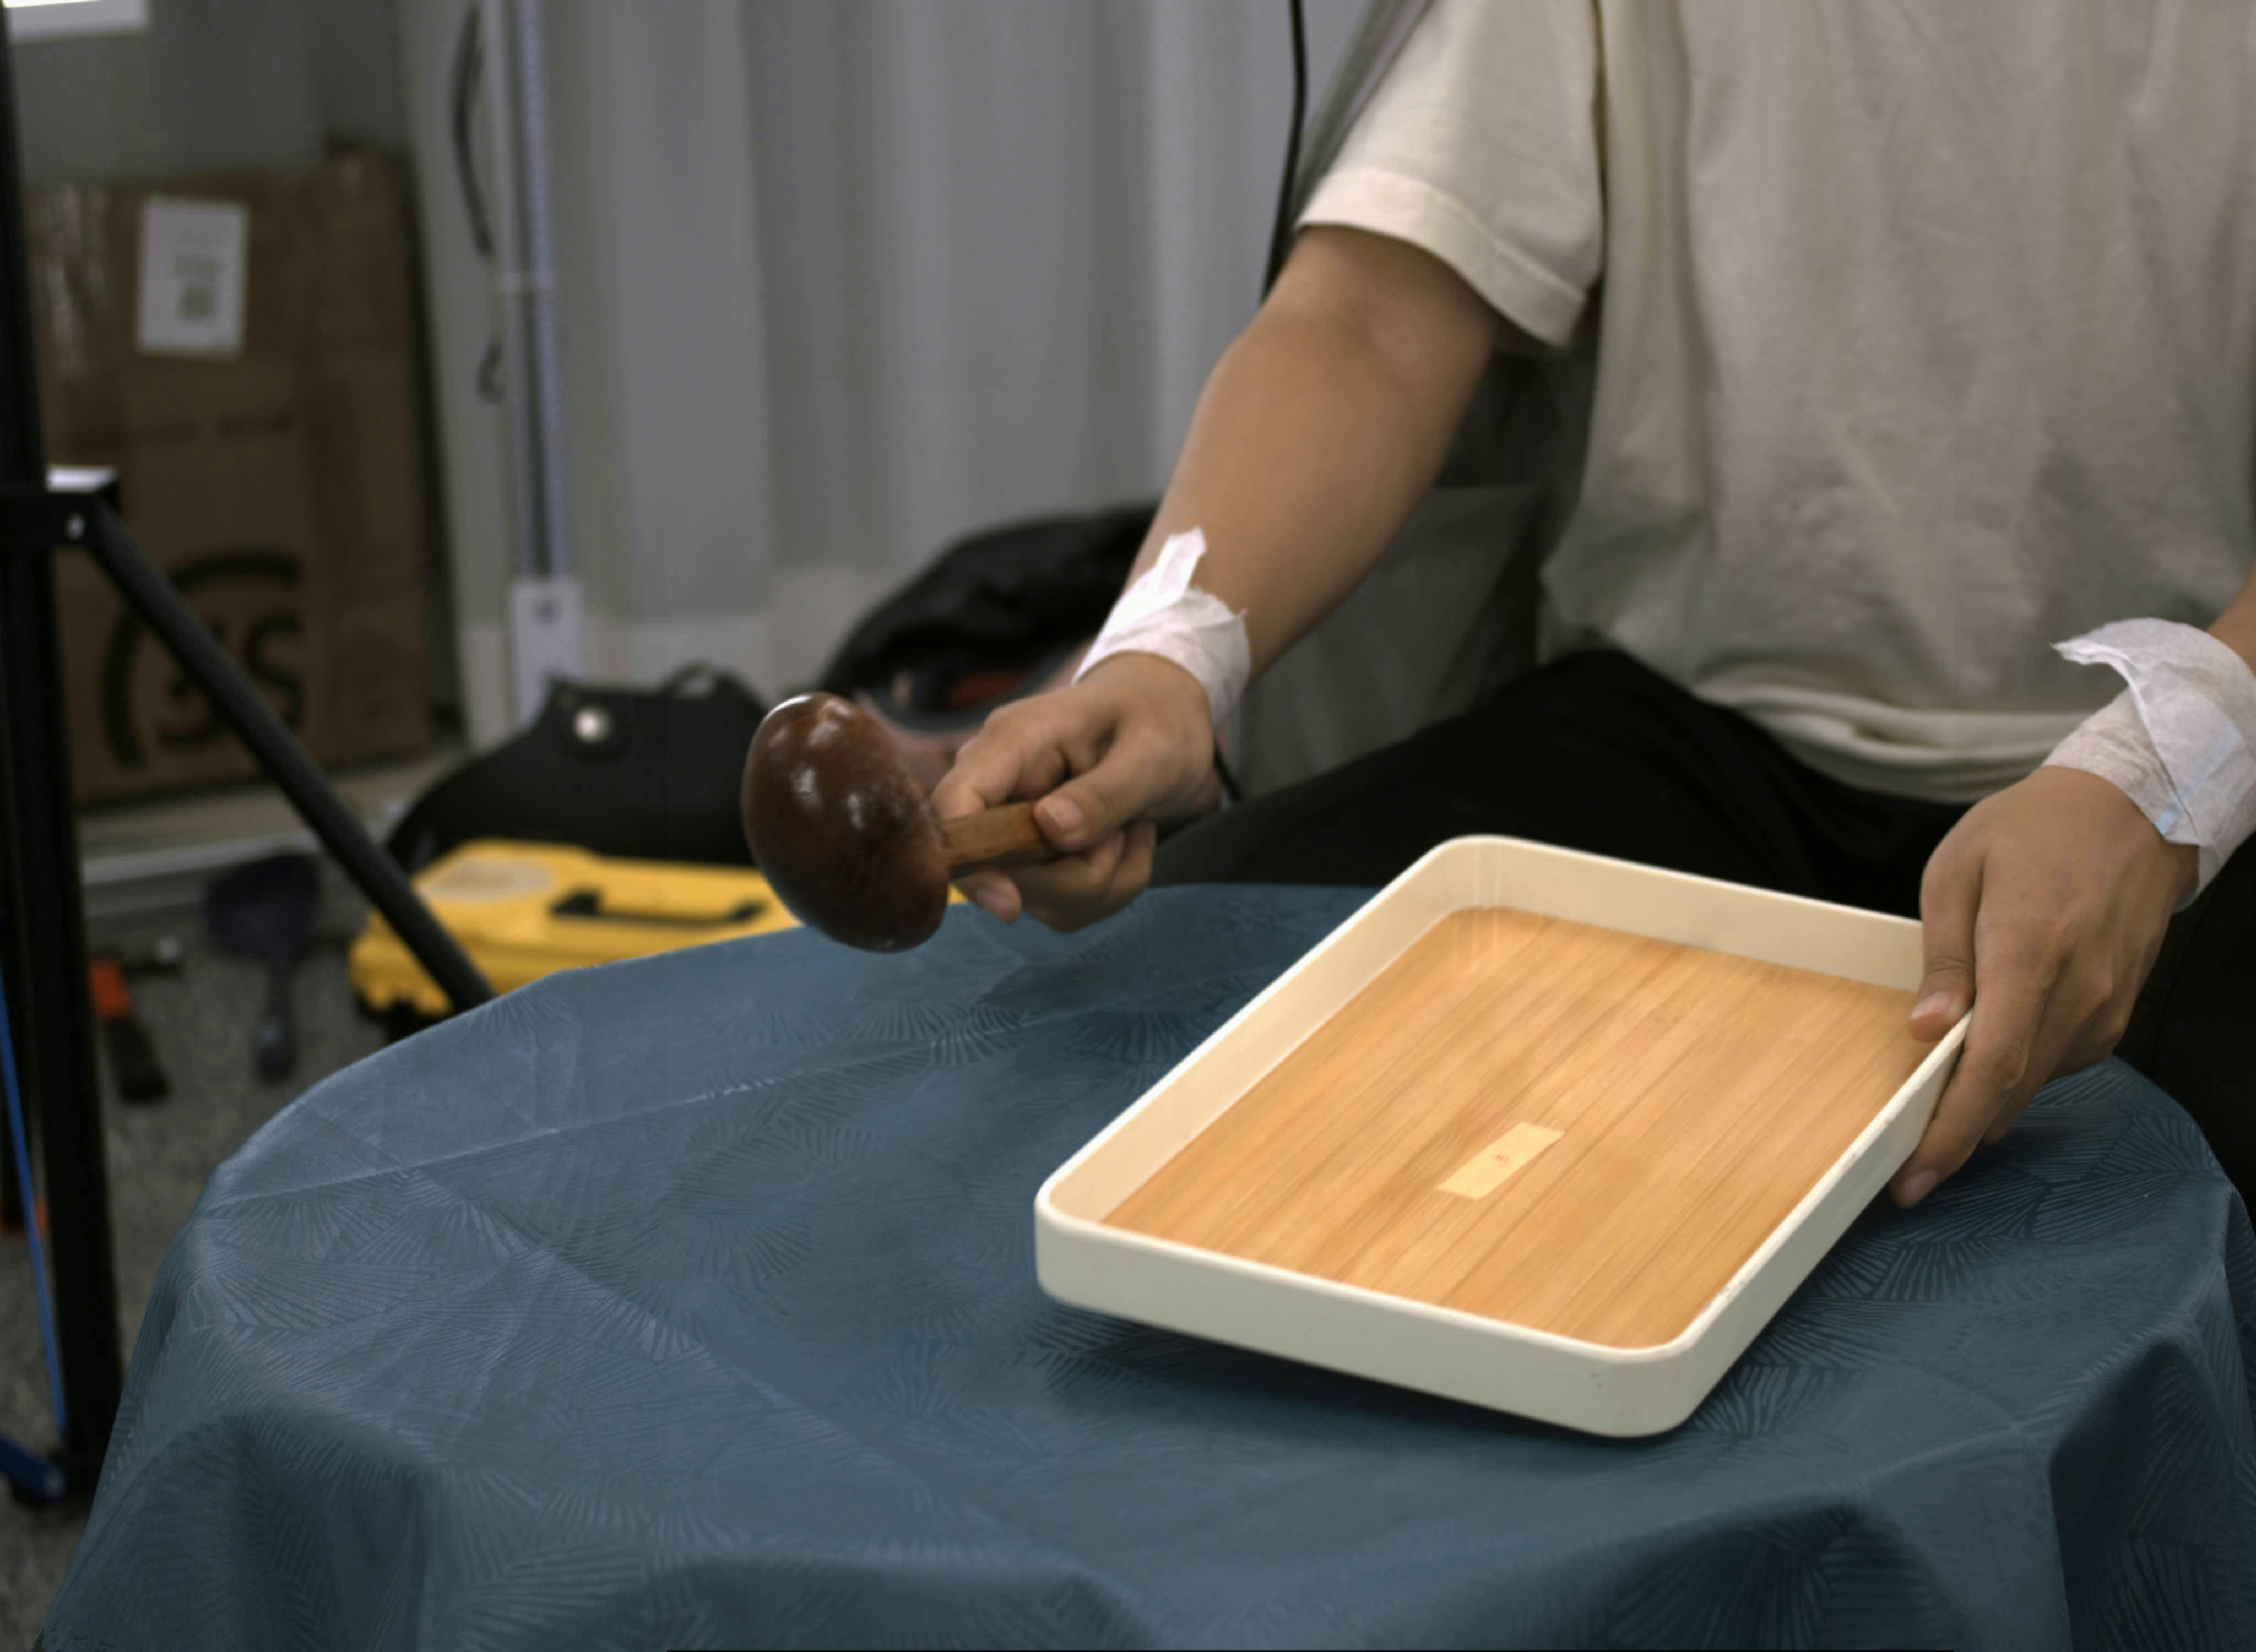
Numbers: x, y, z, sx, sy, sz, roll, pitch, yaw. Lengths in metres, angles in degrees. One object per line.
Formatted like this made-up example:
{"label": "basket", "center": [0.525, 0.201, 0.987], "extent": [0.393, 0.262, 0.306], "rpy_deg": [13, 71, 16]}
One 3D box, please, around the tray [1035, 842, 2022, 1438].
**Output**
{"label": "tray", "center": [0.120, 0.081, 1.493], "extent": [0.195, 0.027, 0.296], "rpy_deg": [10, 25, 26]}

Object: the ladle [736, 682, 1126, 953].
{"label": "ladle", "center": [-0.041, -0.005, 1.627], "extent": [0.077, 0.083, 0.269], "rpy_deg": [-35, -12, 22]}
